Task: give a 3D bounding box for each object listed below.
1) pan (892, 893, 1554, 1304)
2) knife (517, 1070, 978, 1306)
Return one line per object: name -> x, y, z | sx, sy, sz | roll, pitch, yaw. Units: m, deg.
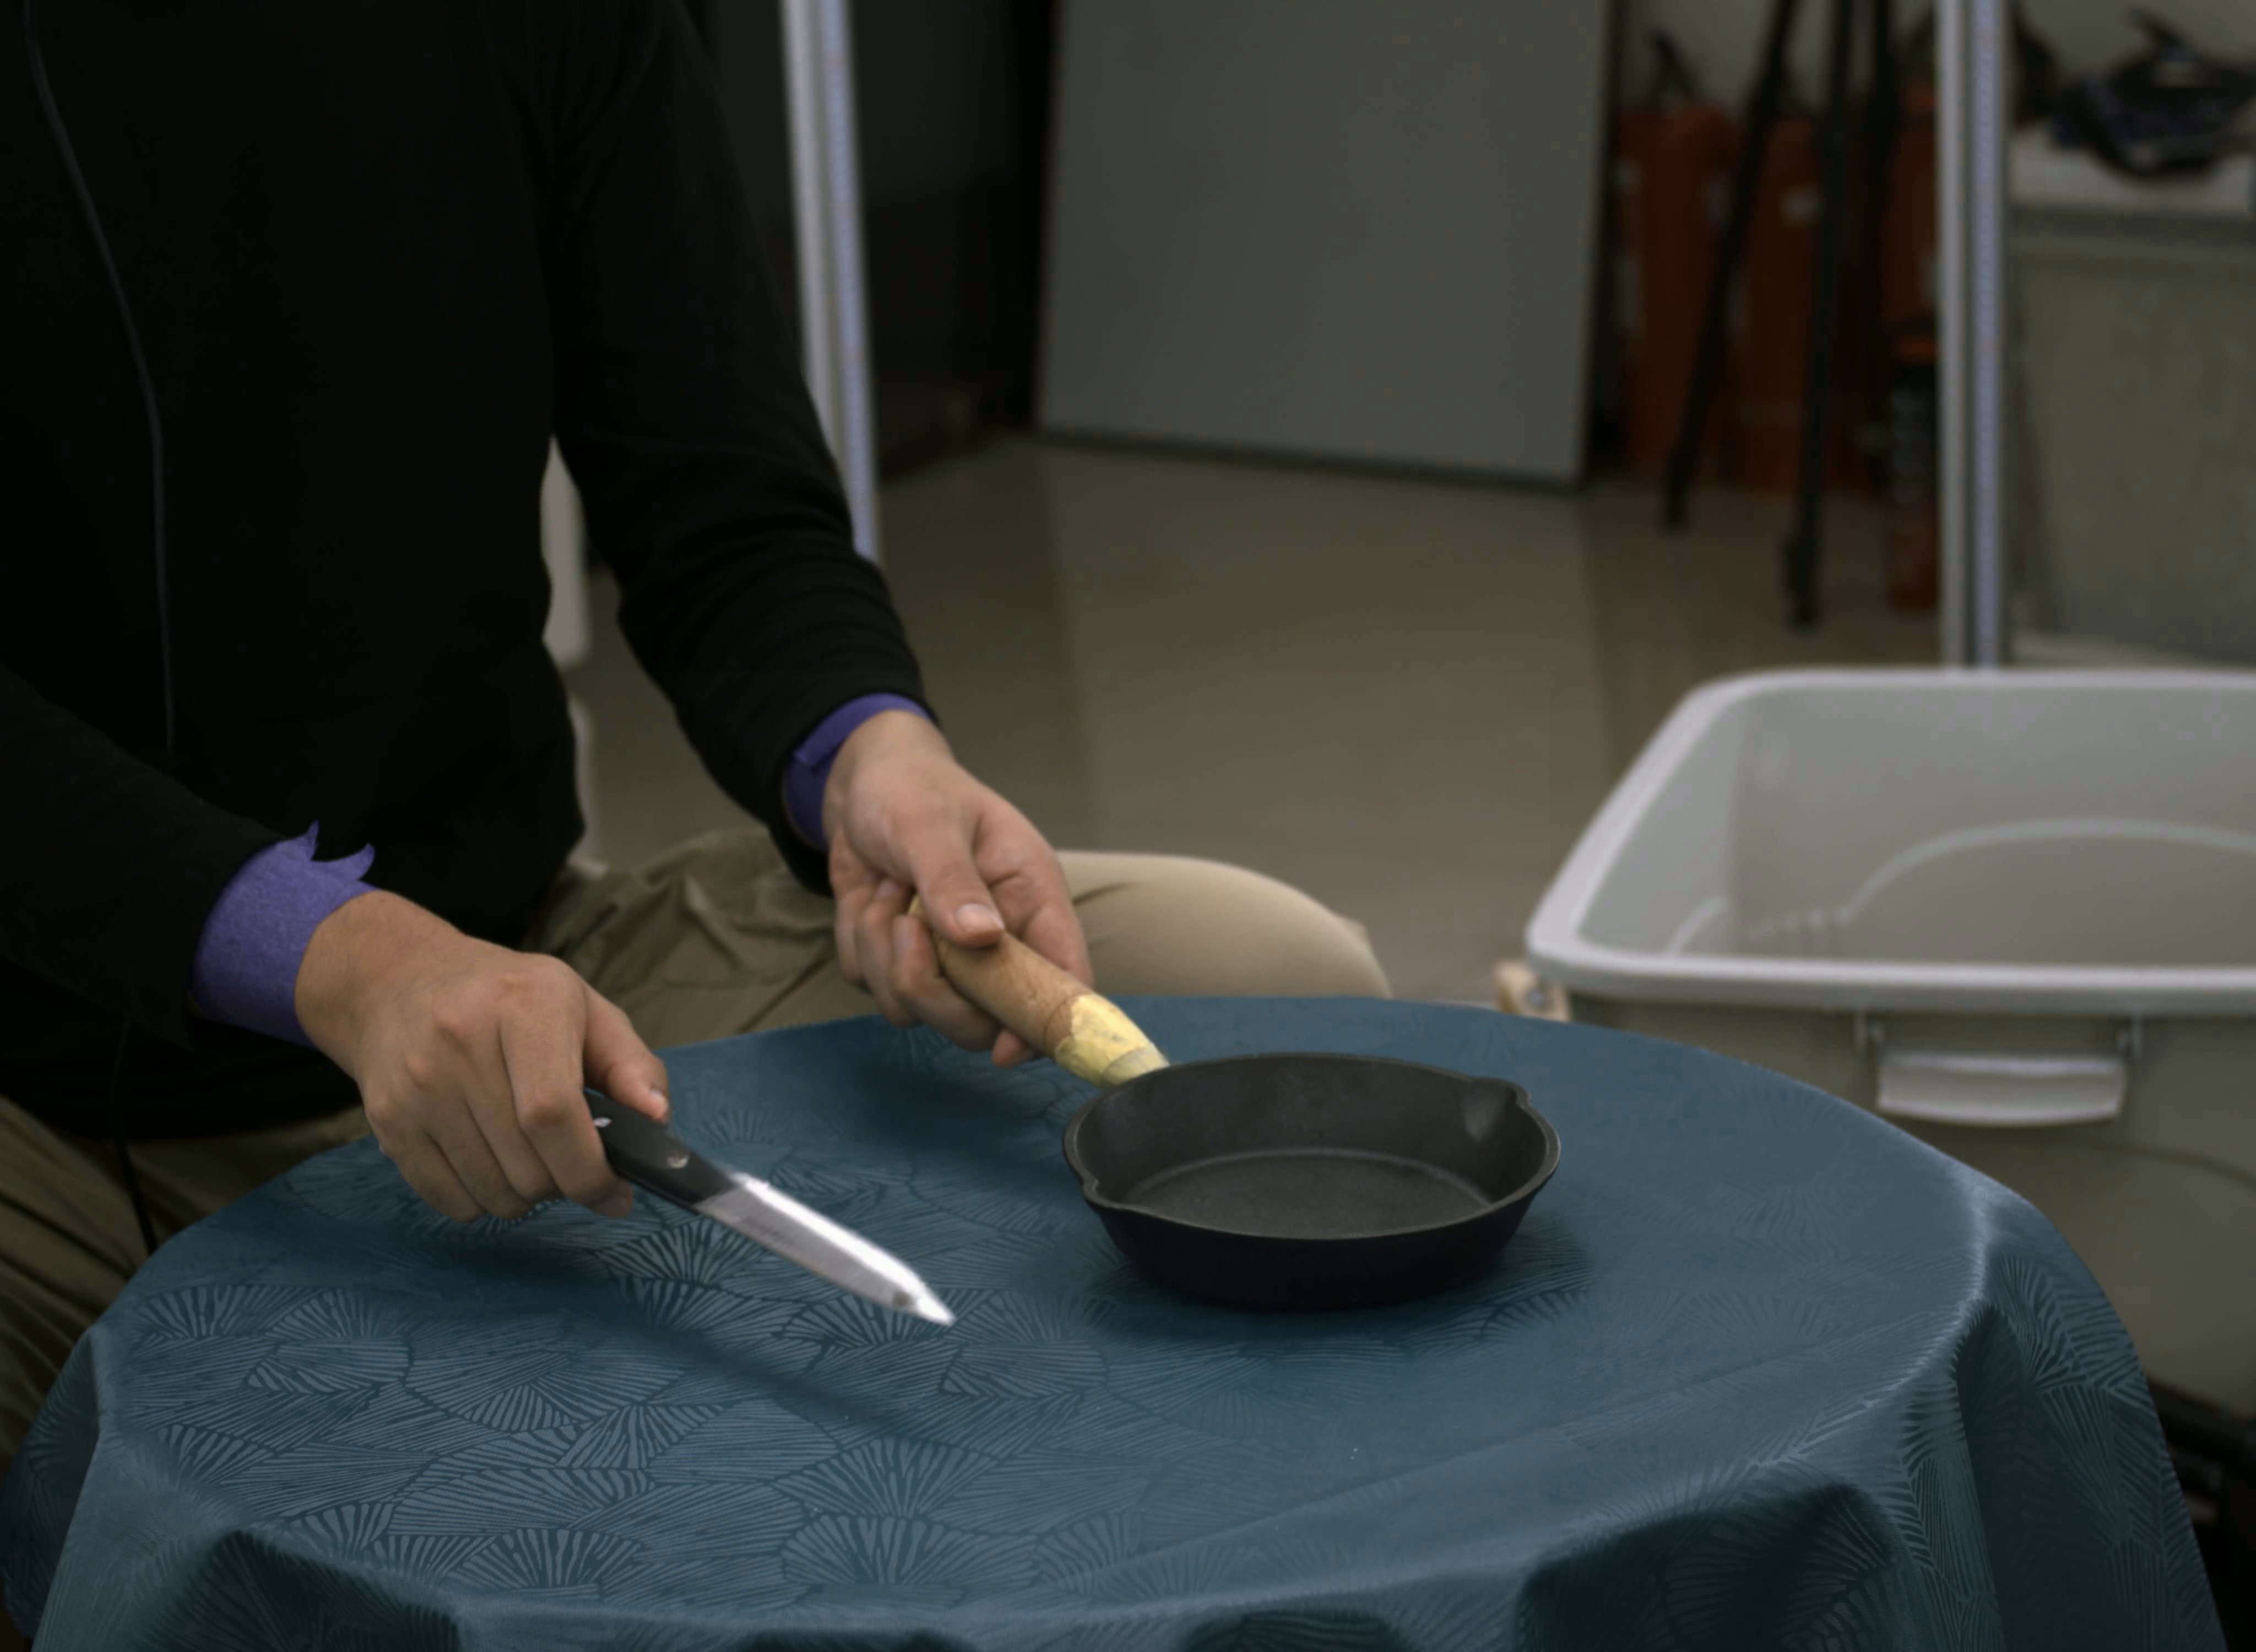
pan -> 0.012, 0.085, 1.764 | 0.165, 0.050, 0.328 | -11, 20, -30
knife -> -0.120, 0.113, 1.657 | 0.024, 0.016, 0.241 | -32, 31, -28
